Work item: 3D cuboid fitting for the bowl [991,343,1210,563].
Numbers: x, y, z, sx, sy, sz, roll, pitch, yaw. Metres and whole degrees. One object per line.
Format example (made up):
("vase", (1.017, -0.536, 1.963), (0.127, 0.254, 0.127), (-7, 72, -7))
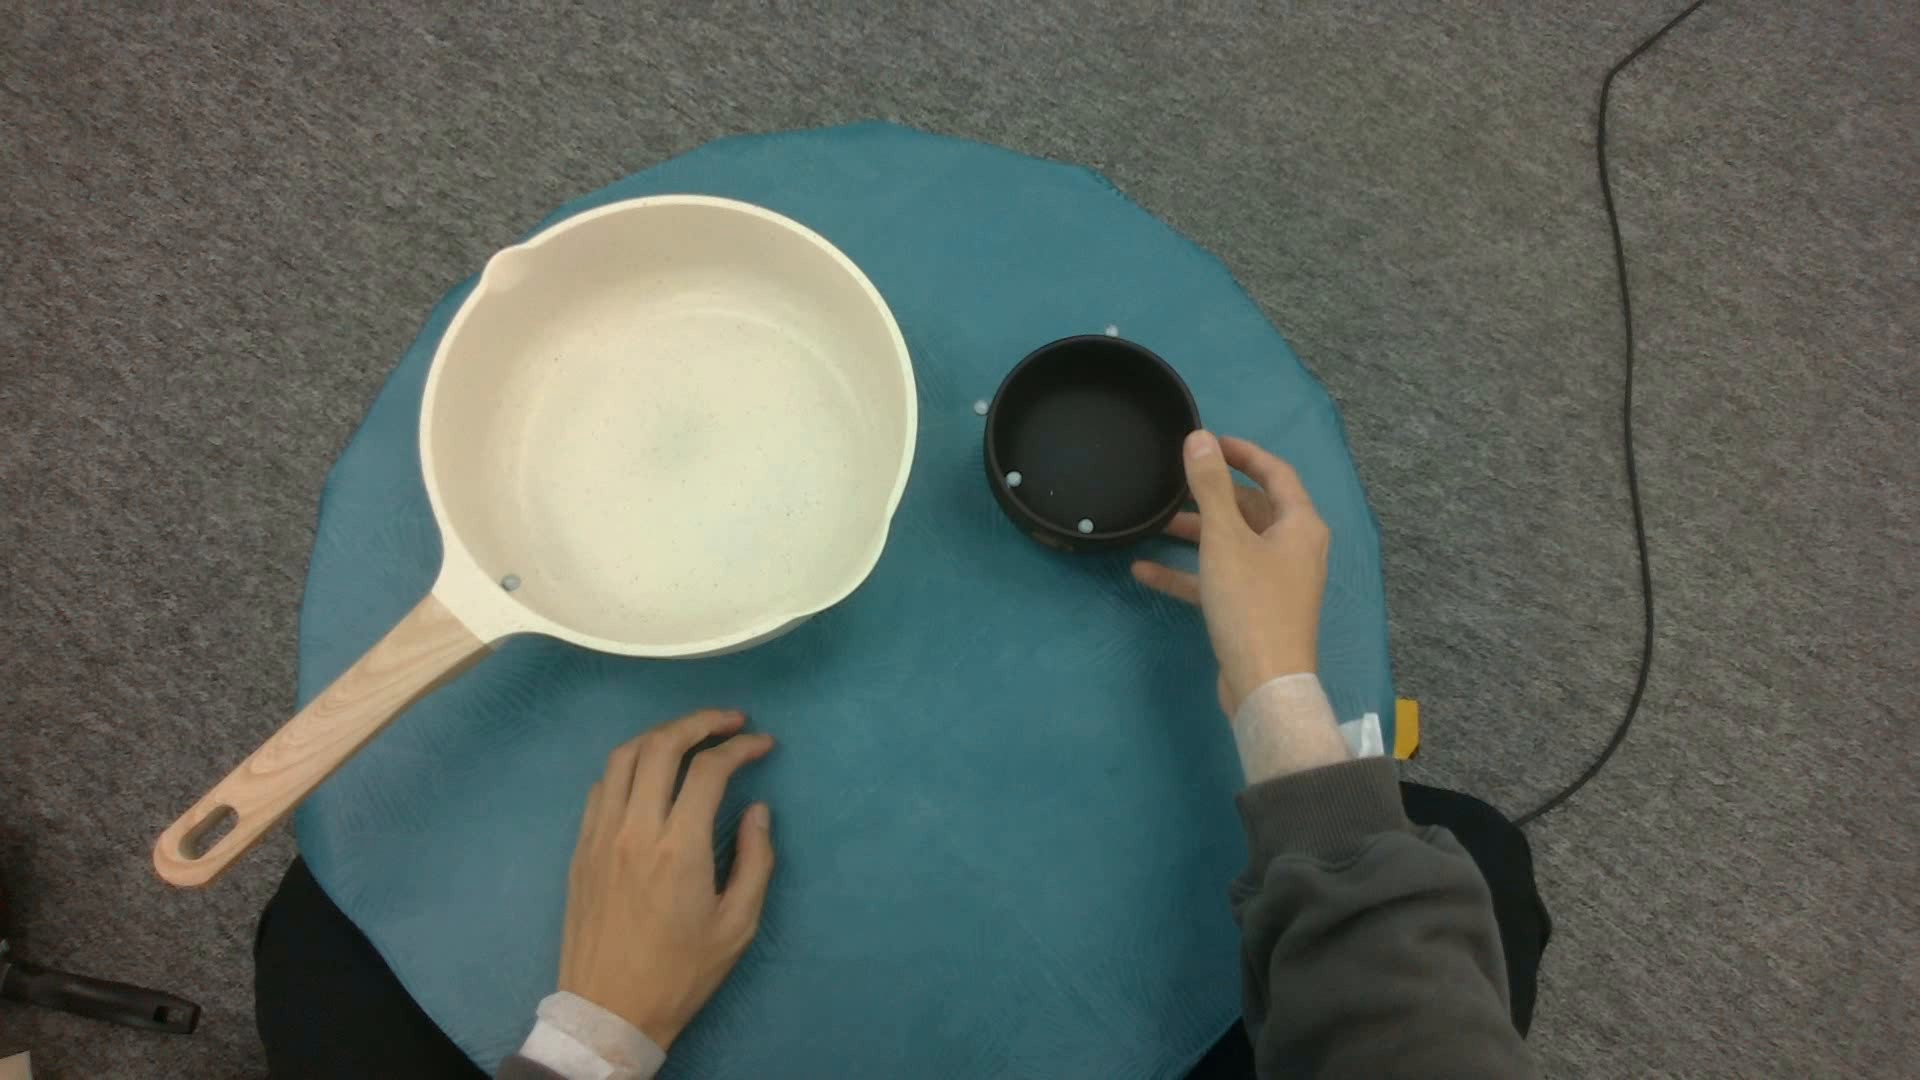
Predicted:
("bowl", (0.075, -0.043, 0.765), (0.118, 0.069, 0.118), (1, 74, -2))

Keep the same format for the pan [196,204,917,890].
("pan", (-0.209, 0.012, 0.732), (0.263, 0.102, 0.436), (41, 77, 9))
